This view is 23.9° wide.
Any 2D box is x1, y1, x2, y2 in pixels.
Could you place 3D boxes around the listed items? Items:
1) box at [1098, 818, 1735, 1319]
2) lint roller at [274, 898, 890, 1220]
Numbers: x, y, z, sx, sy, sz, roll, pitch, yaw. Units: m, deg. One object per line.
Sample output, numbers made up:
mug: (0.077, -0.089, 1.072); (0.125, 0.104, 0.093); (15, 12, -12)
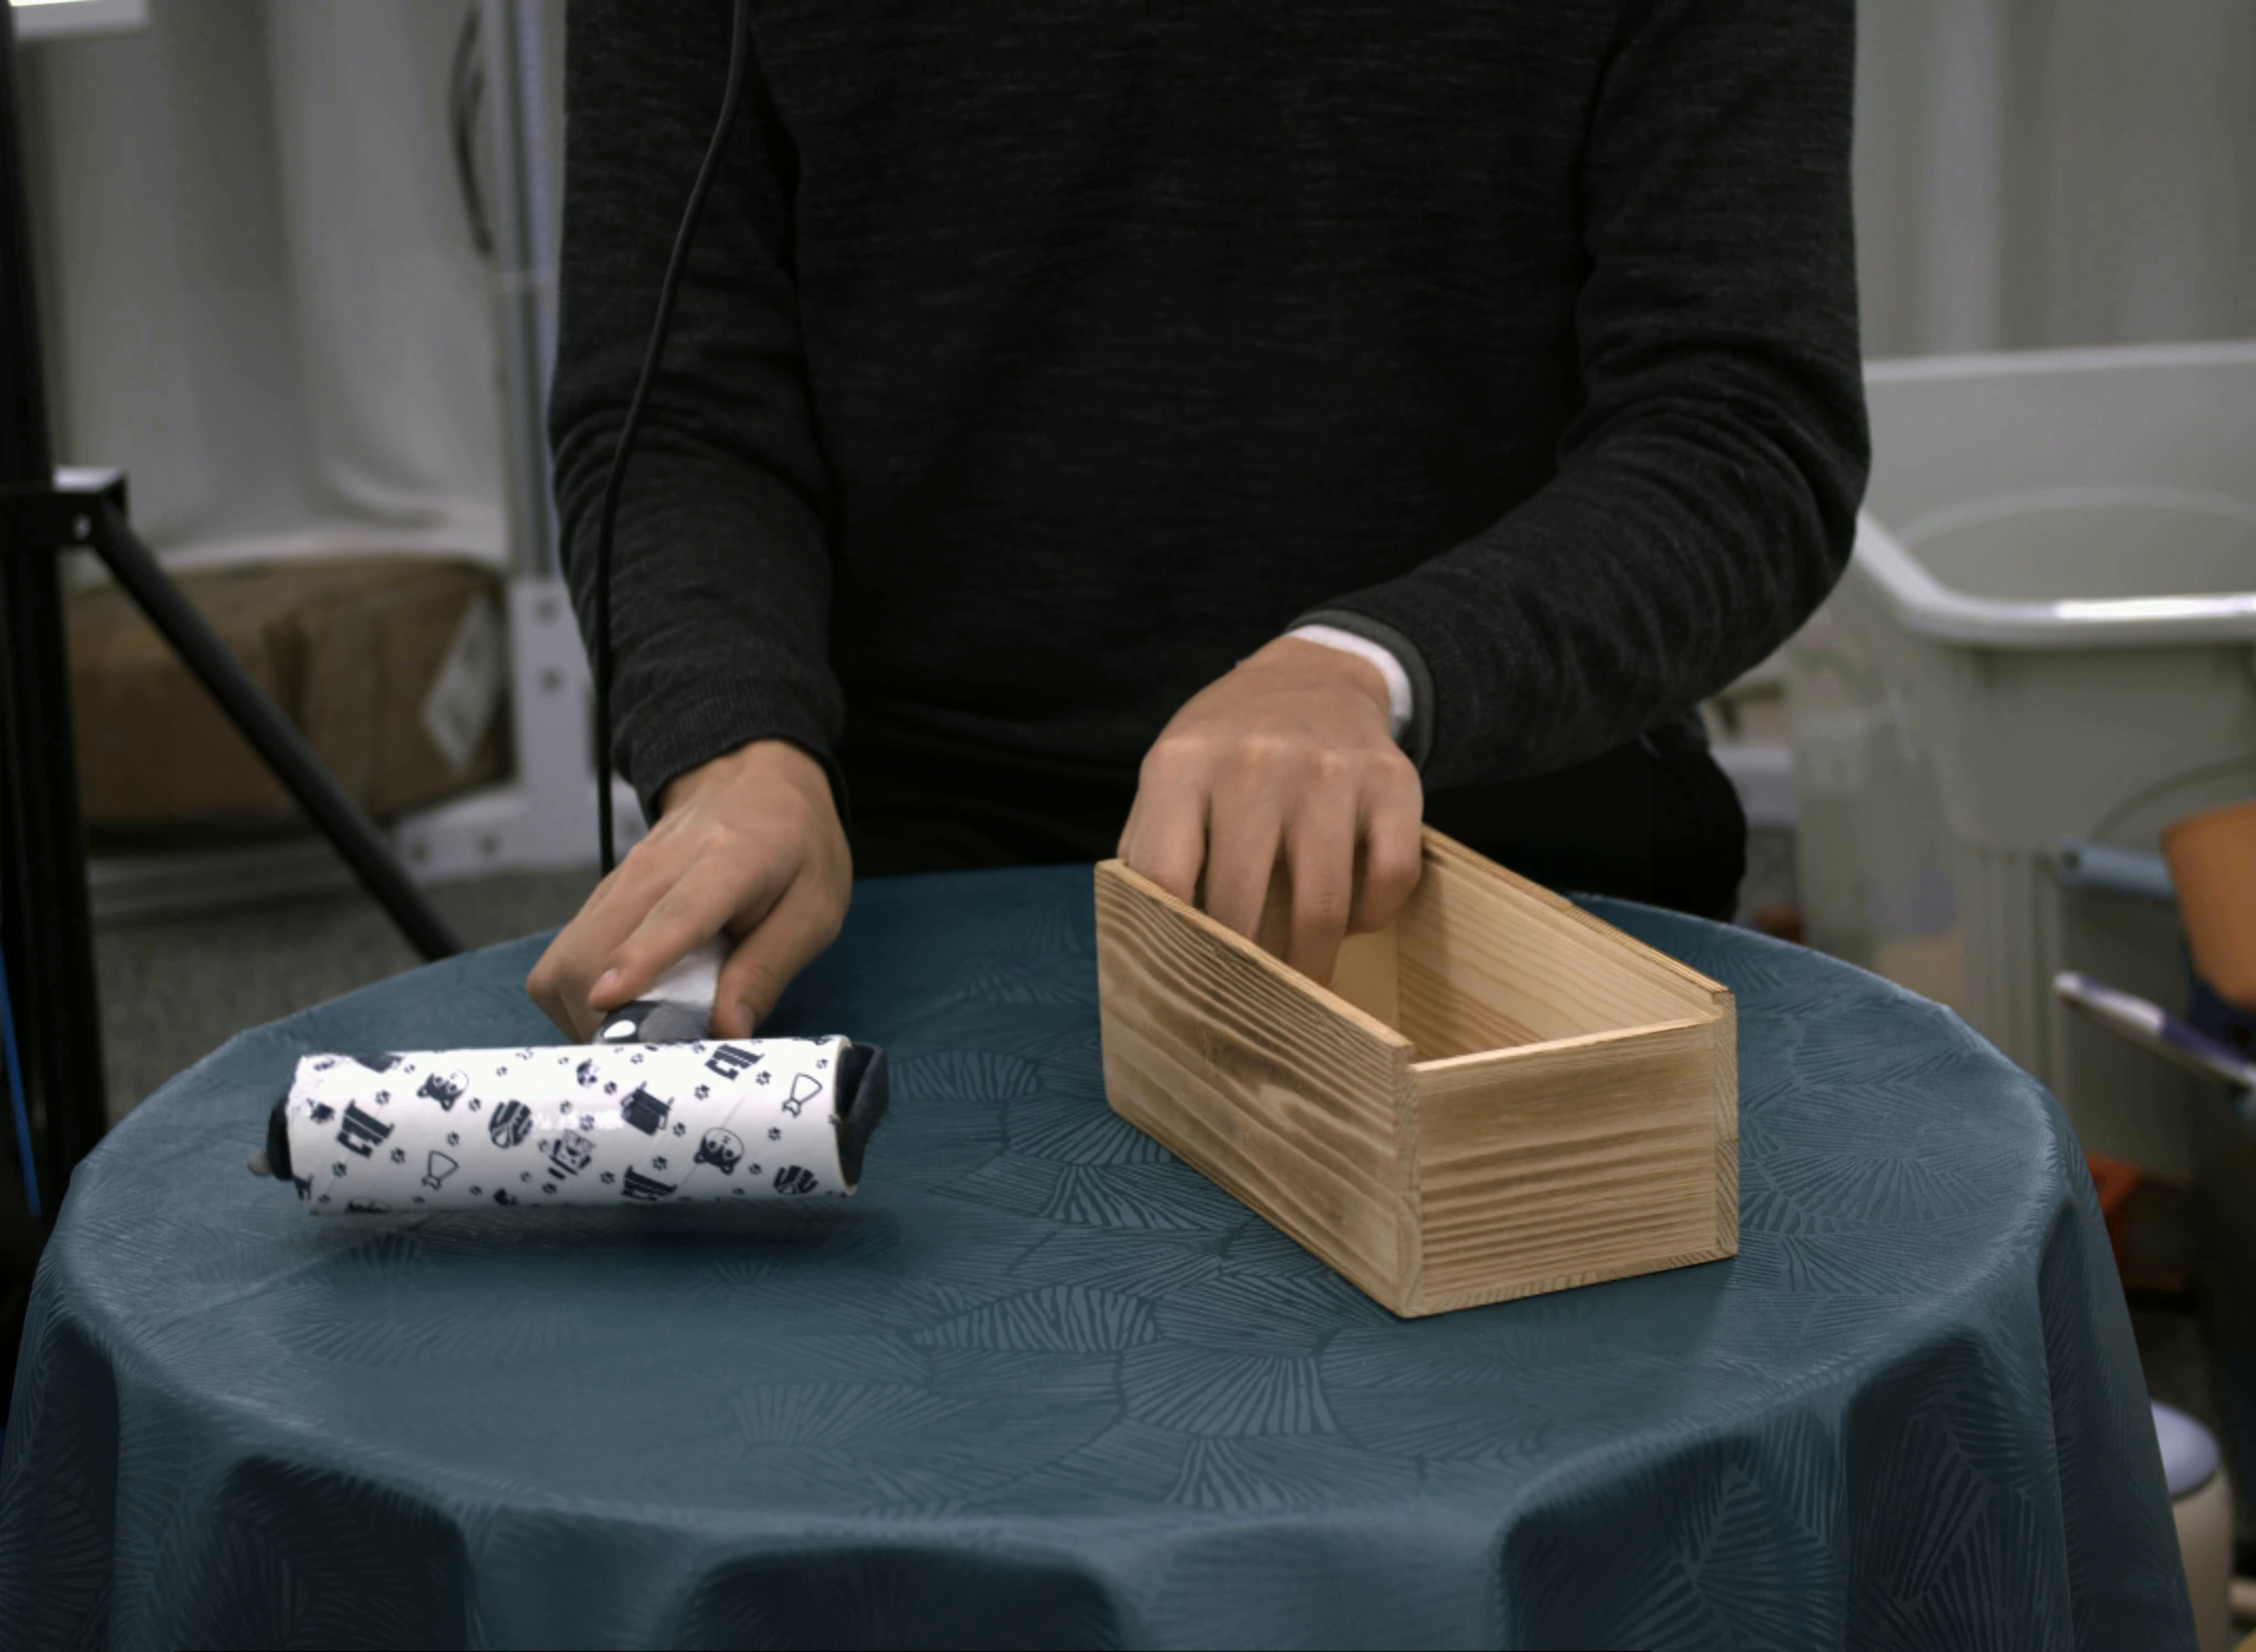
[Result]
box: (0.080, 0.066, 1.545); (0.105, 0.080, 0.215); (-8, 16, -21)
lint roller: (-0.150, 0.056, 1.635); (0.176, 0.050, 0.247); (-9, 14, 8)
